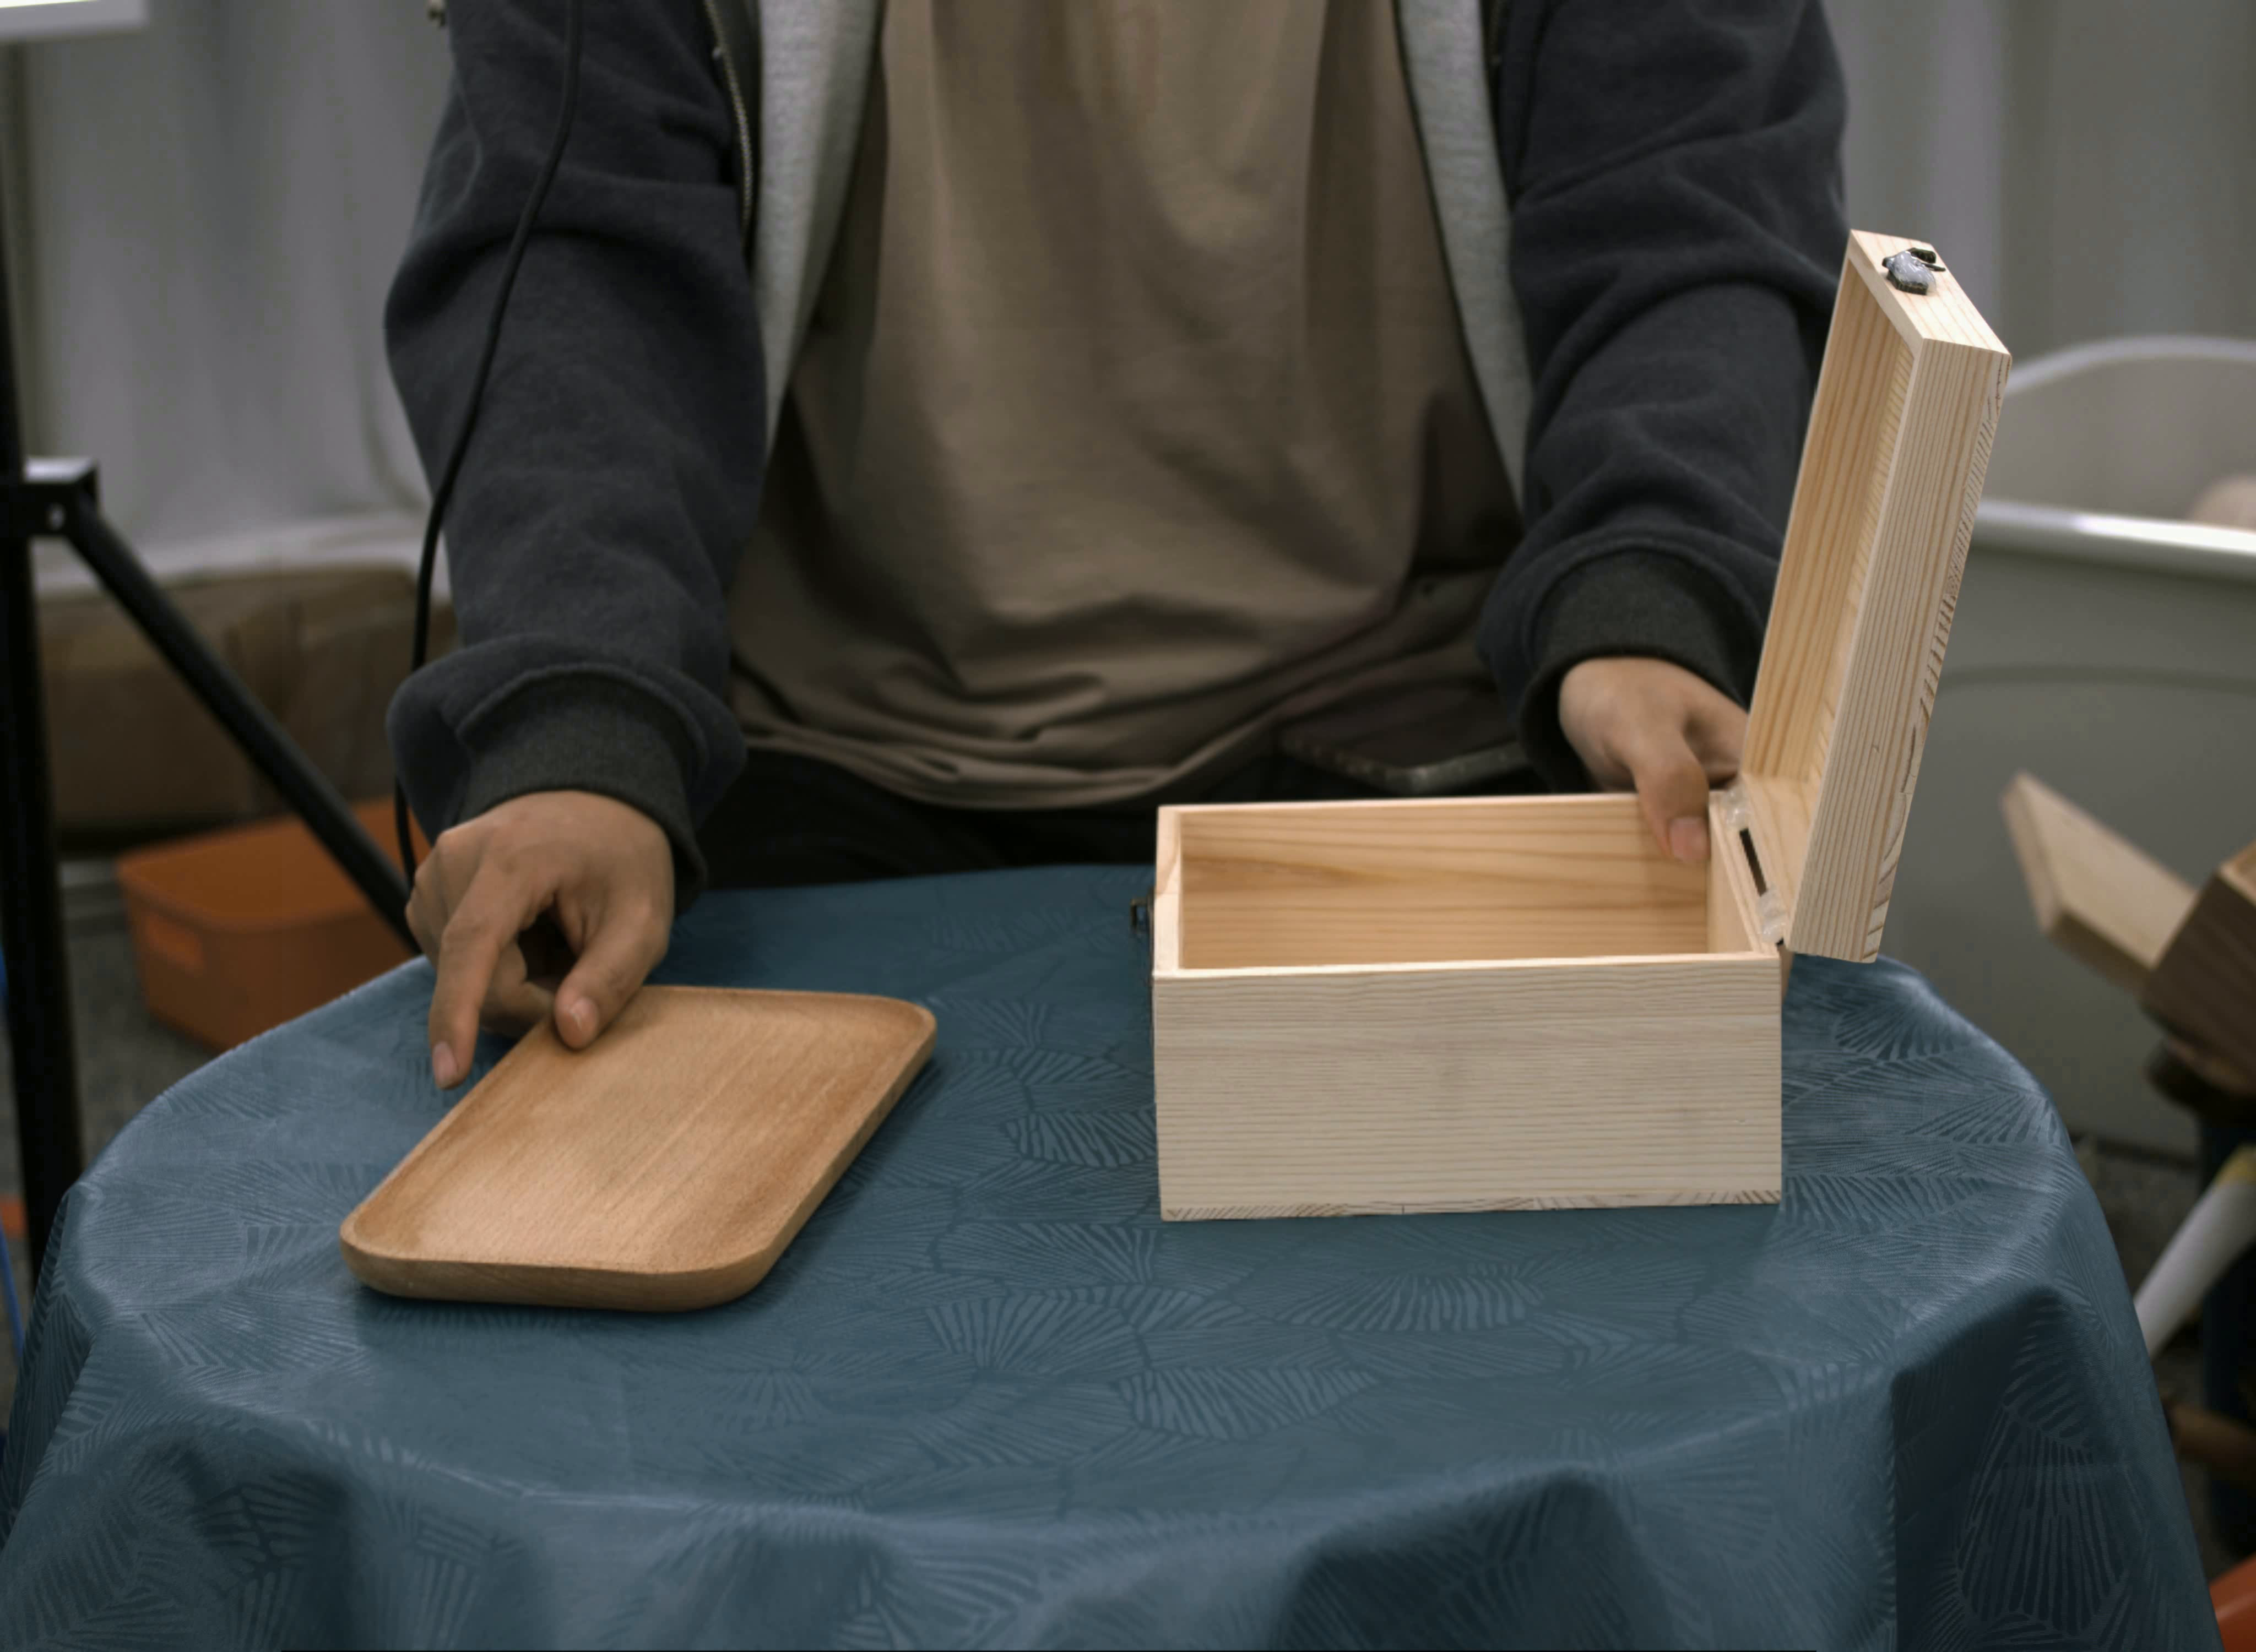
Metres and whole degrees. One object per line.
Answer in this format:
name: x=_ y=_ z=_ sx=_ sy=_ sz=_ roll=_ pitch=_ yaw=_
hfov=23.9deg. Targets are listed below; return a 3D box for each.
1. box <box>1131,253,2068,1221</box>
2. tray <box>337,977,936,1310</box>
box: x=0.132 y=-0.031 z=1.583 sx=0.264 sy=0.253 sz=0.182 roll=-1 pitch=13 yaw=2
tray: x=-0.143 y=0.093 z=1.601 sx=0.131 sy=0.023 sz=0.249 roll=5 pitch=17 yaw=12
